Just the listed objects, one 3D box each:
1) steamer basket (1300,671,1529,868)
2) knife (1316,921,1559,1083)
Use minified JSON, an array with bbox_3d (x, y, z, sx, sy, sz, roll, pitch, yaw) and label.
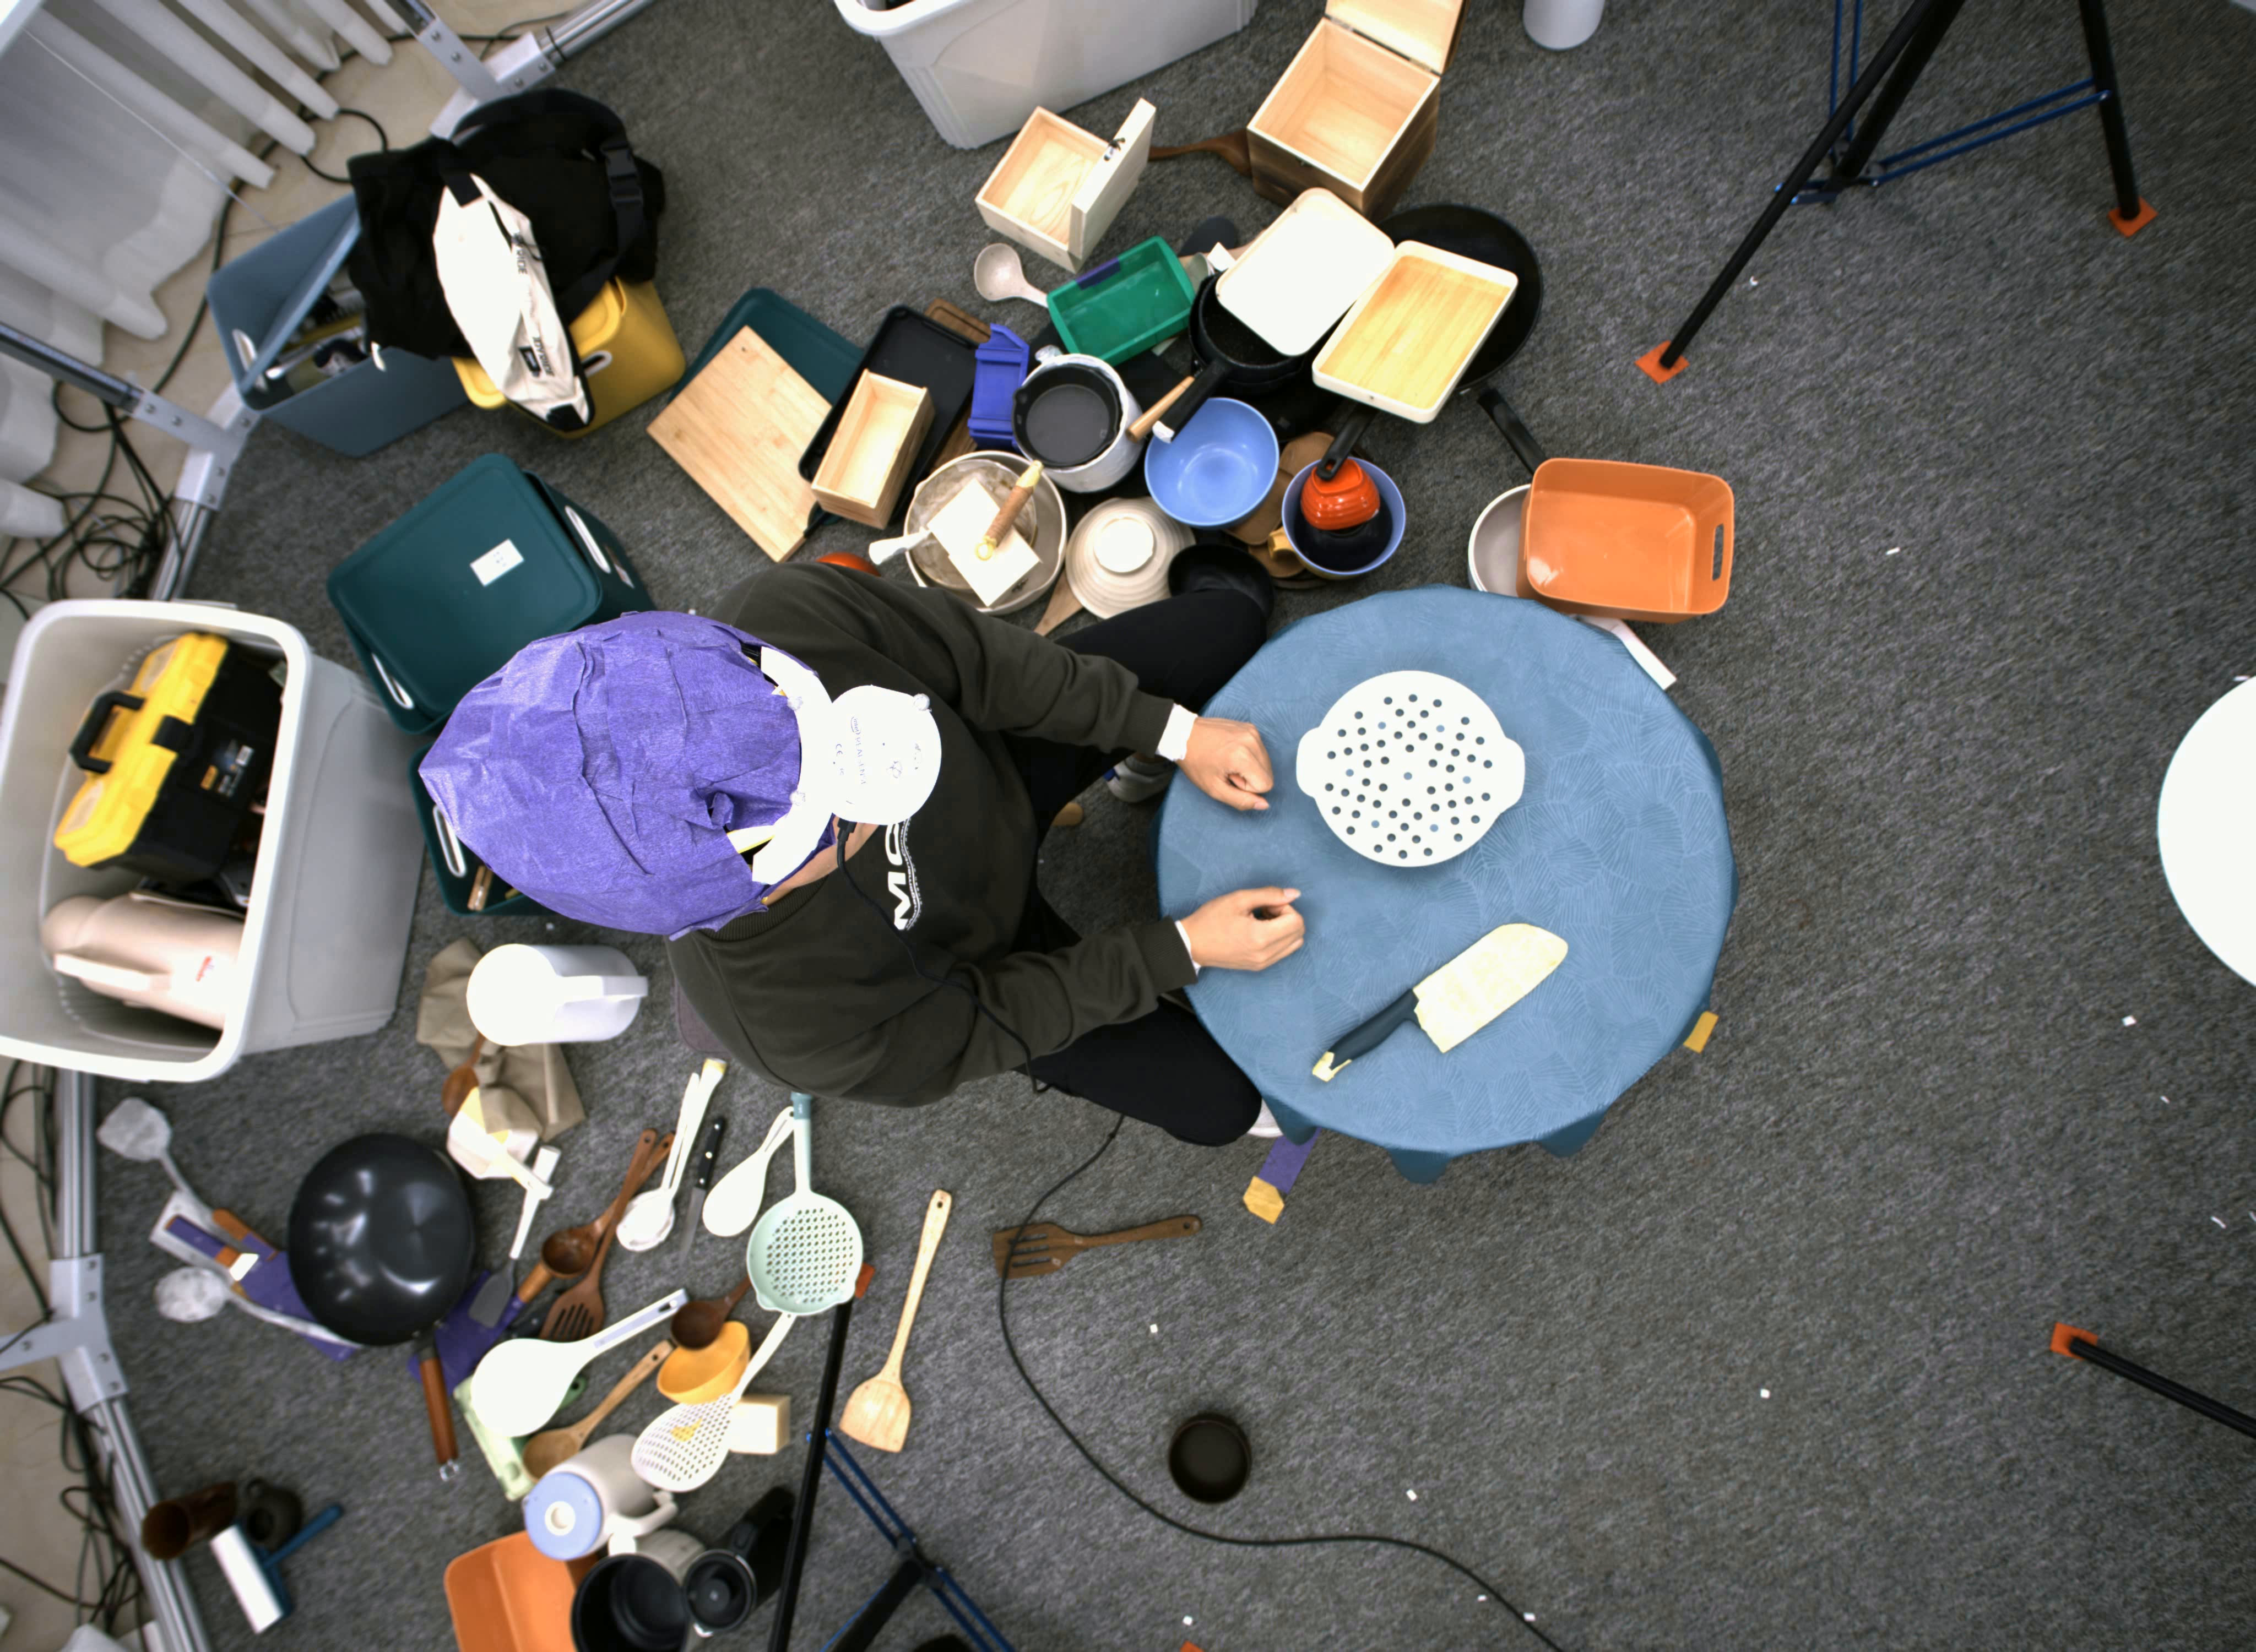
[{"bbox_3d":[0.296,-0.058,1.428,0.231,0.069,0.201,4,86,12],"label":"steamer basket"},{"bbox_3d":[0.325,0.189,1.436,0.291,0.027,0.080,-34,80,6],"label":"knife"}]
